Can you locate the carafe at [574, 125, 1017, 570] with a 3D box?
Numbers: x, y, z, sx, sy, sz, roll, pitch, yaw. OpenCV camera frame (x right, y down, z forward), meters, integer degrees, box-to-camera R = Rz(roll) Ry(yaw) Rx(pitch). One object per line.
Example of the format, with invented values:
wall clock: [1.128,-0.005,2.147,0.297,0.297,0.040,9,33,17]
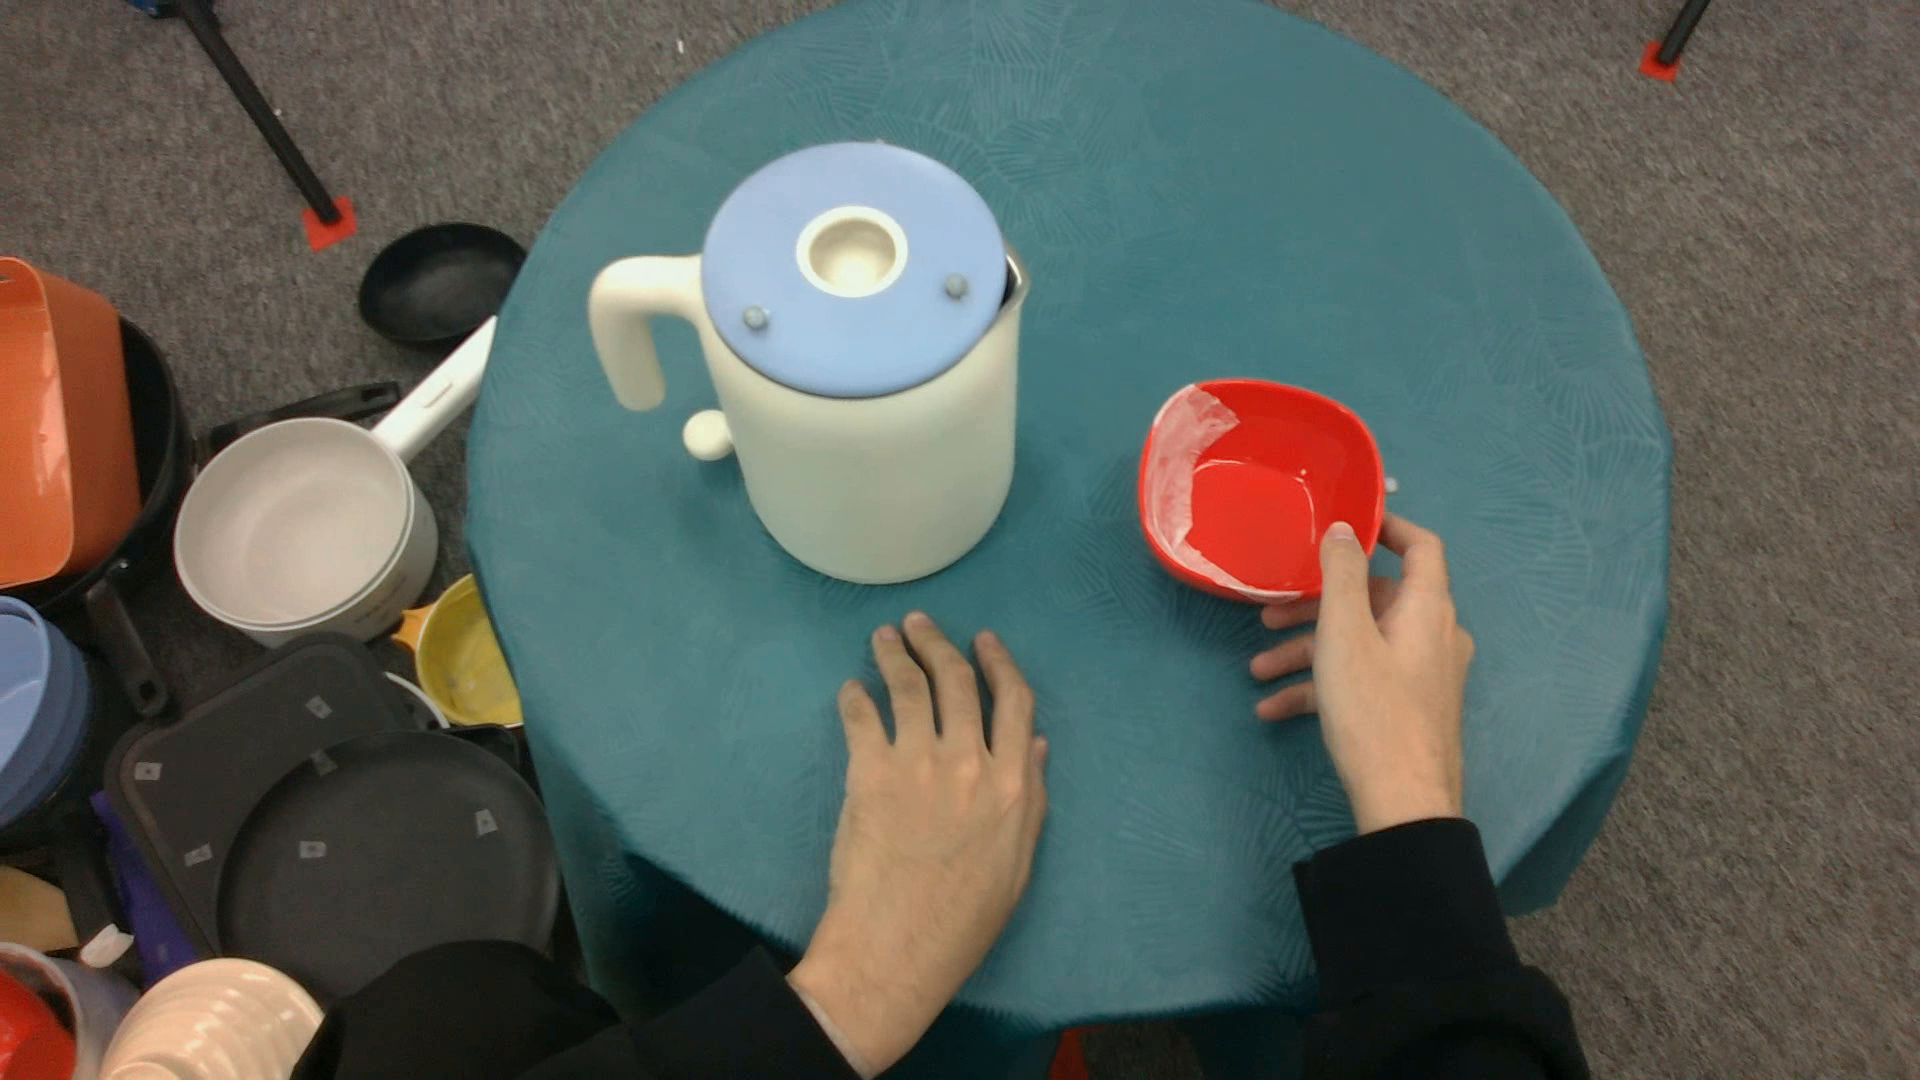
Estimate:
carafe: [-0.071,-0.079,0.606,0.191,0.182,0.133,3,63,3]

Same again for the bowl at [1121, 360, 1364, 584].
bowl: [0.128,-0.024,0.646,0.119,0.051,0.119,1,62,-2]
